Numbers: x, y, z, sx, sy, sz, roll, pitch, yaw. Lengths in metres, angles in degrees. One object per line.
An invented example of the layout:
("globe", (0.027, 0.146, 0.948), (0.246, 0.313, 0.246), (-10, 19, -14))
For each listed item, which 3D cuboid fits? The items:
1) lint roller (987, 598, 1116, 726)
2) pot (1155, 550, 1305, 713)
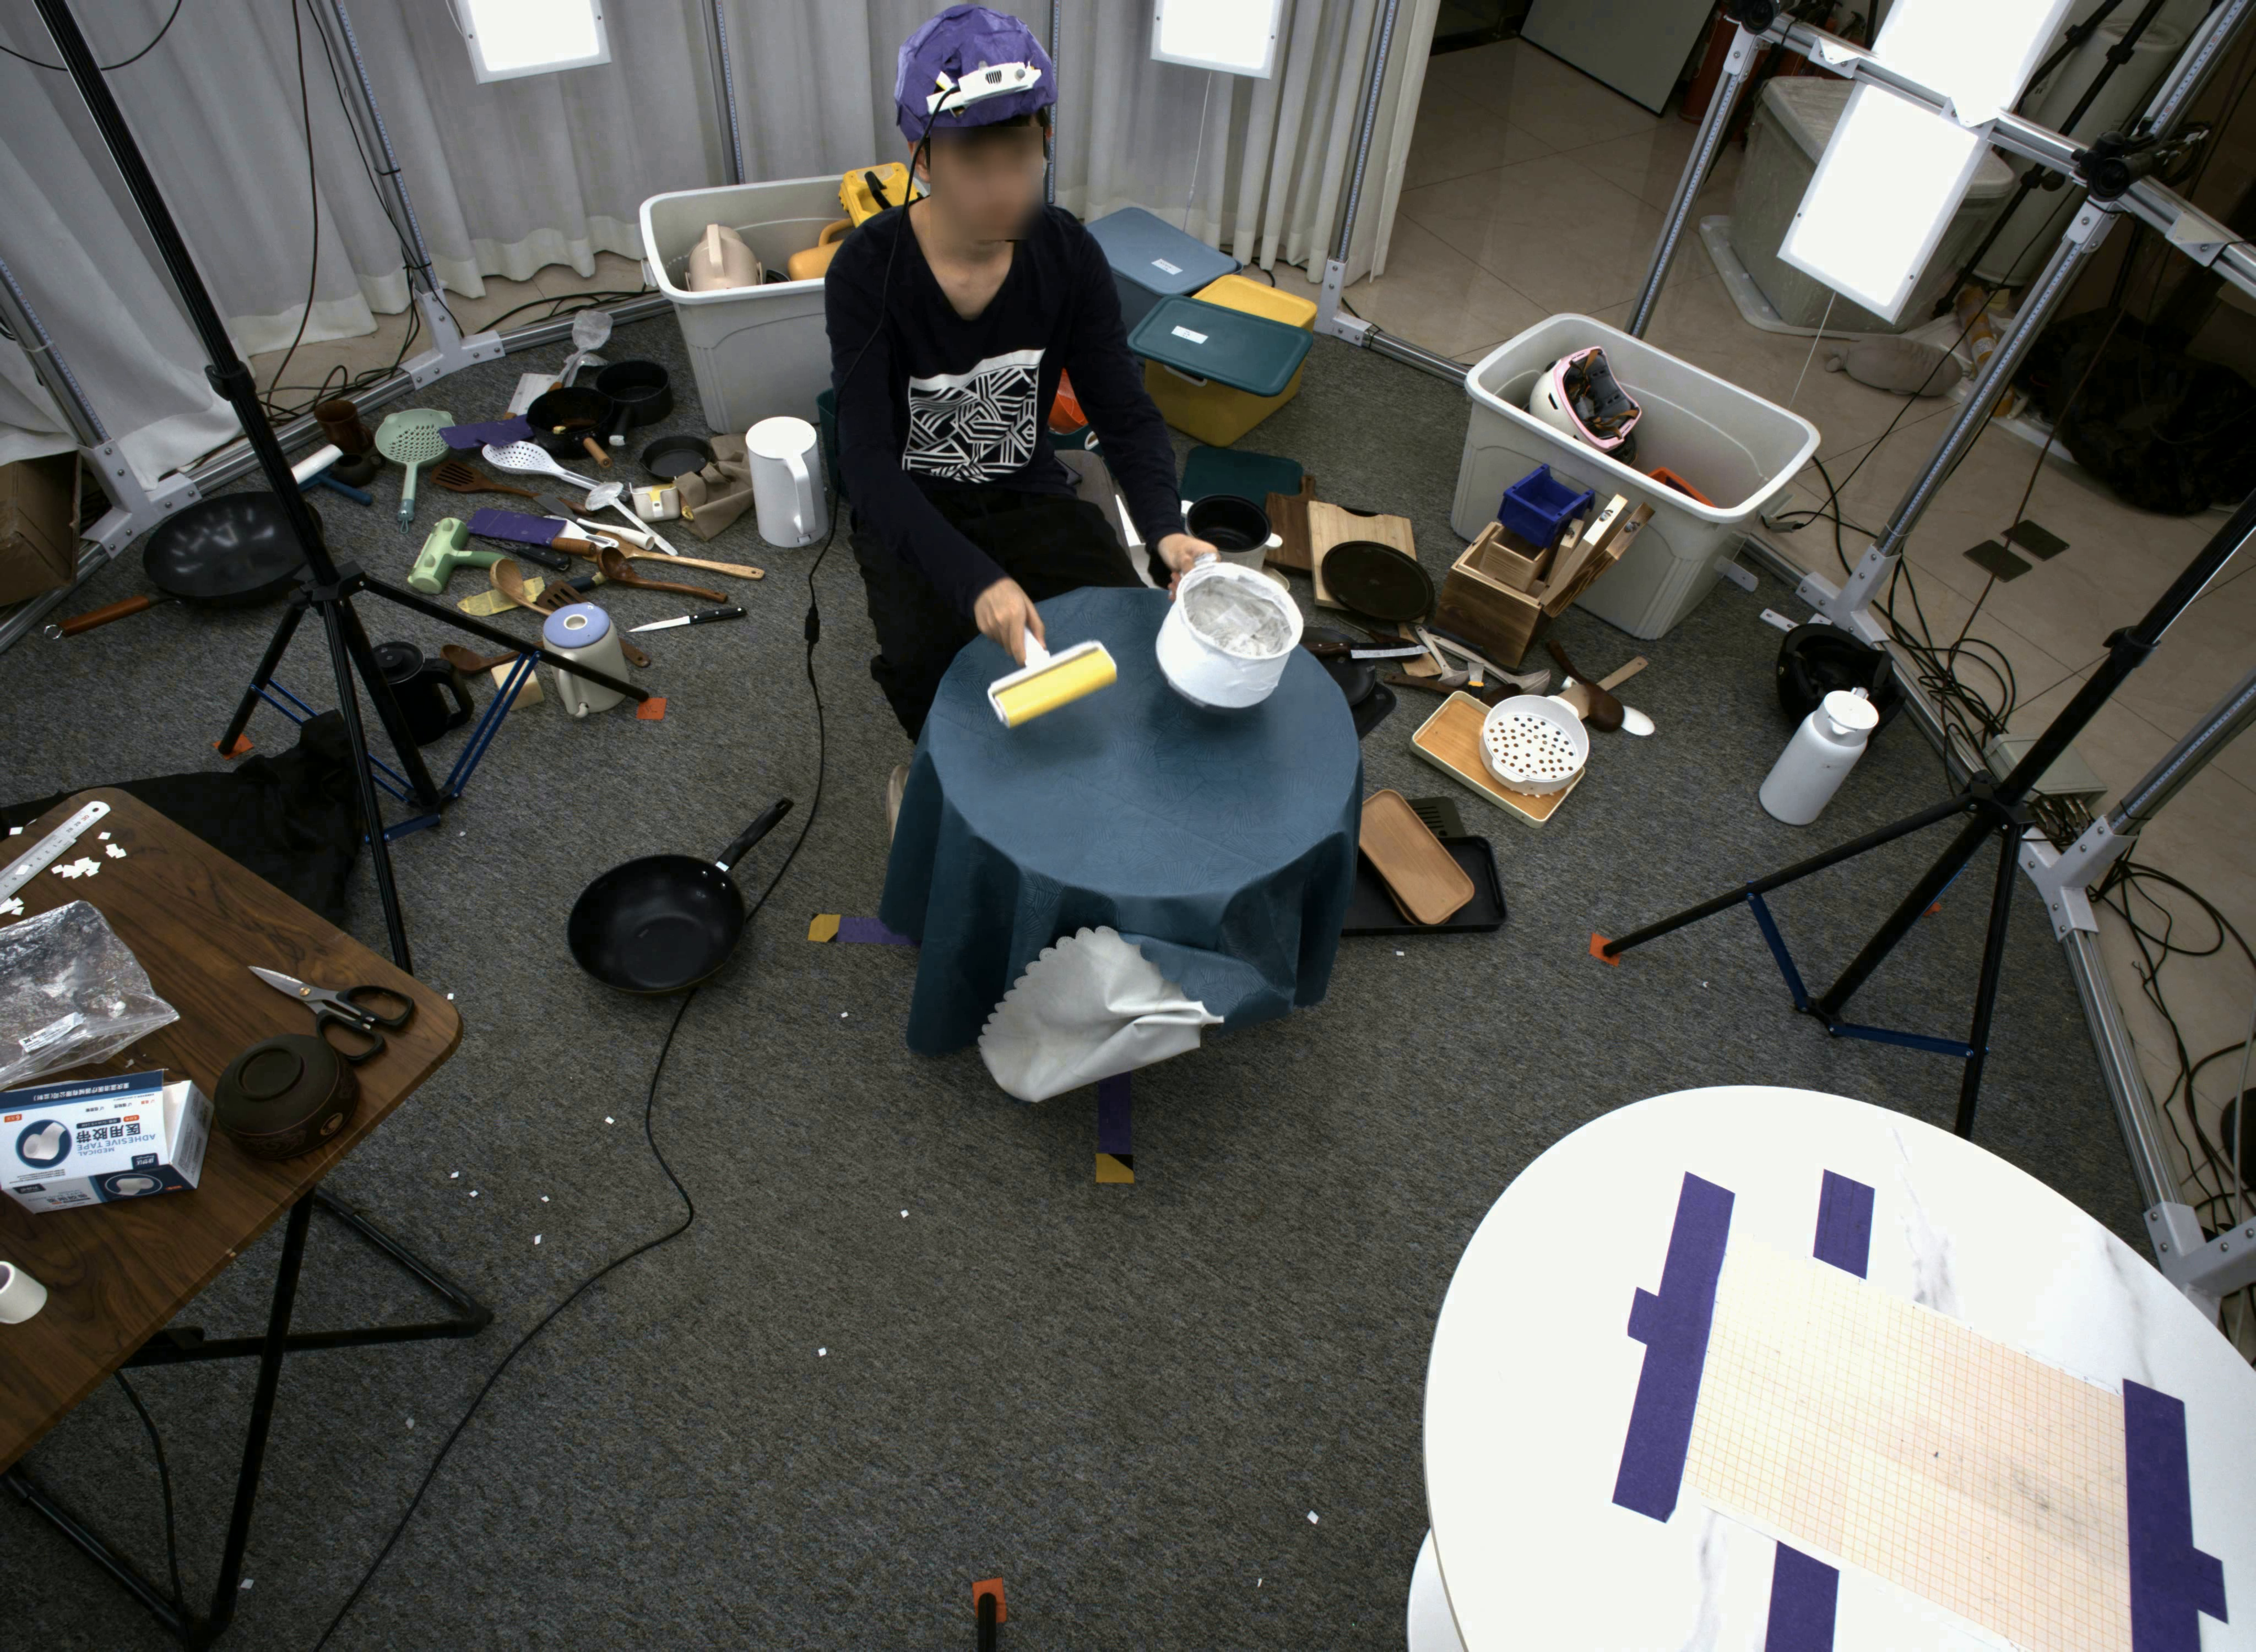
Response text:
("lint roller", (-0.134, -0.245, 1.745), (0.175, 0.050, 0.195), (-27, 70, -15))
("pot", (0.123, -0.275, 1.755), (0.178, 0.134, 0.239), (-8, 58, -27))
